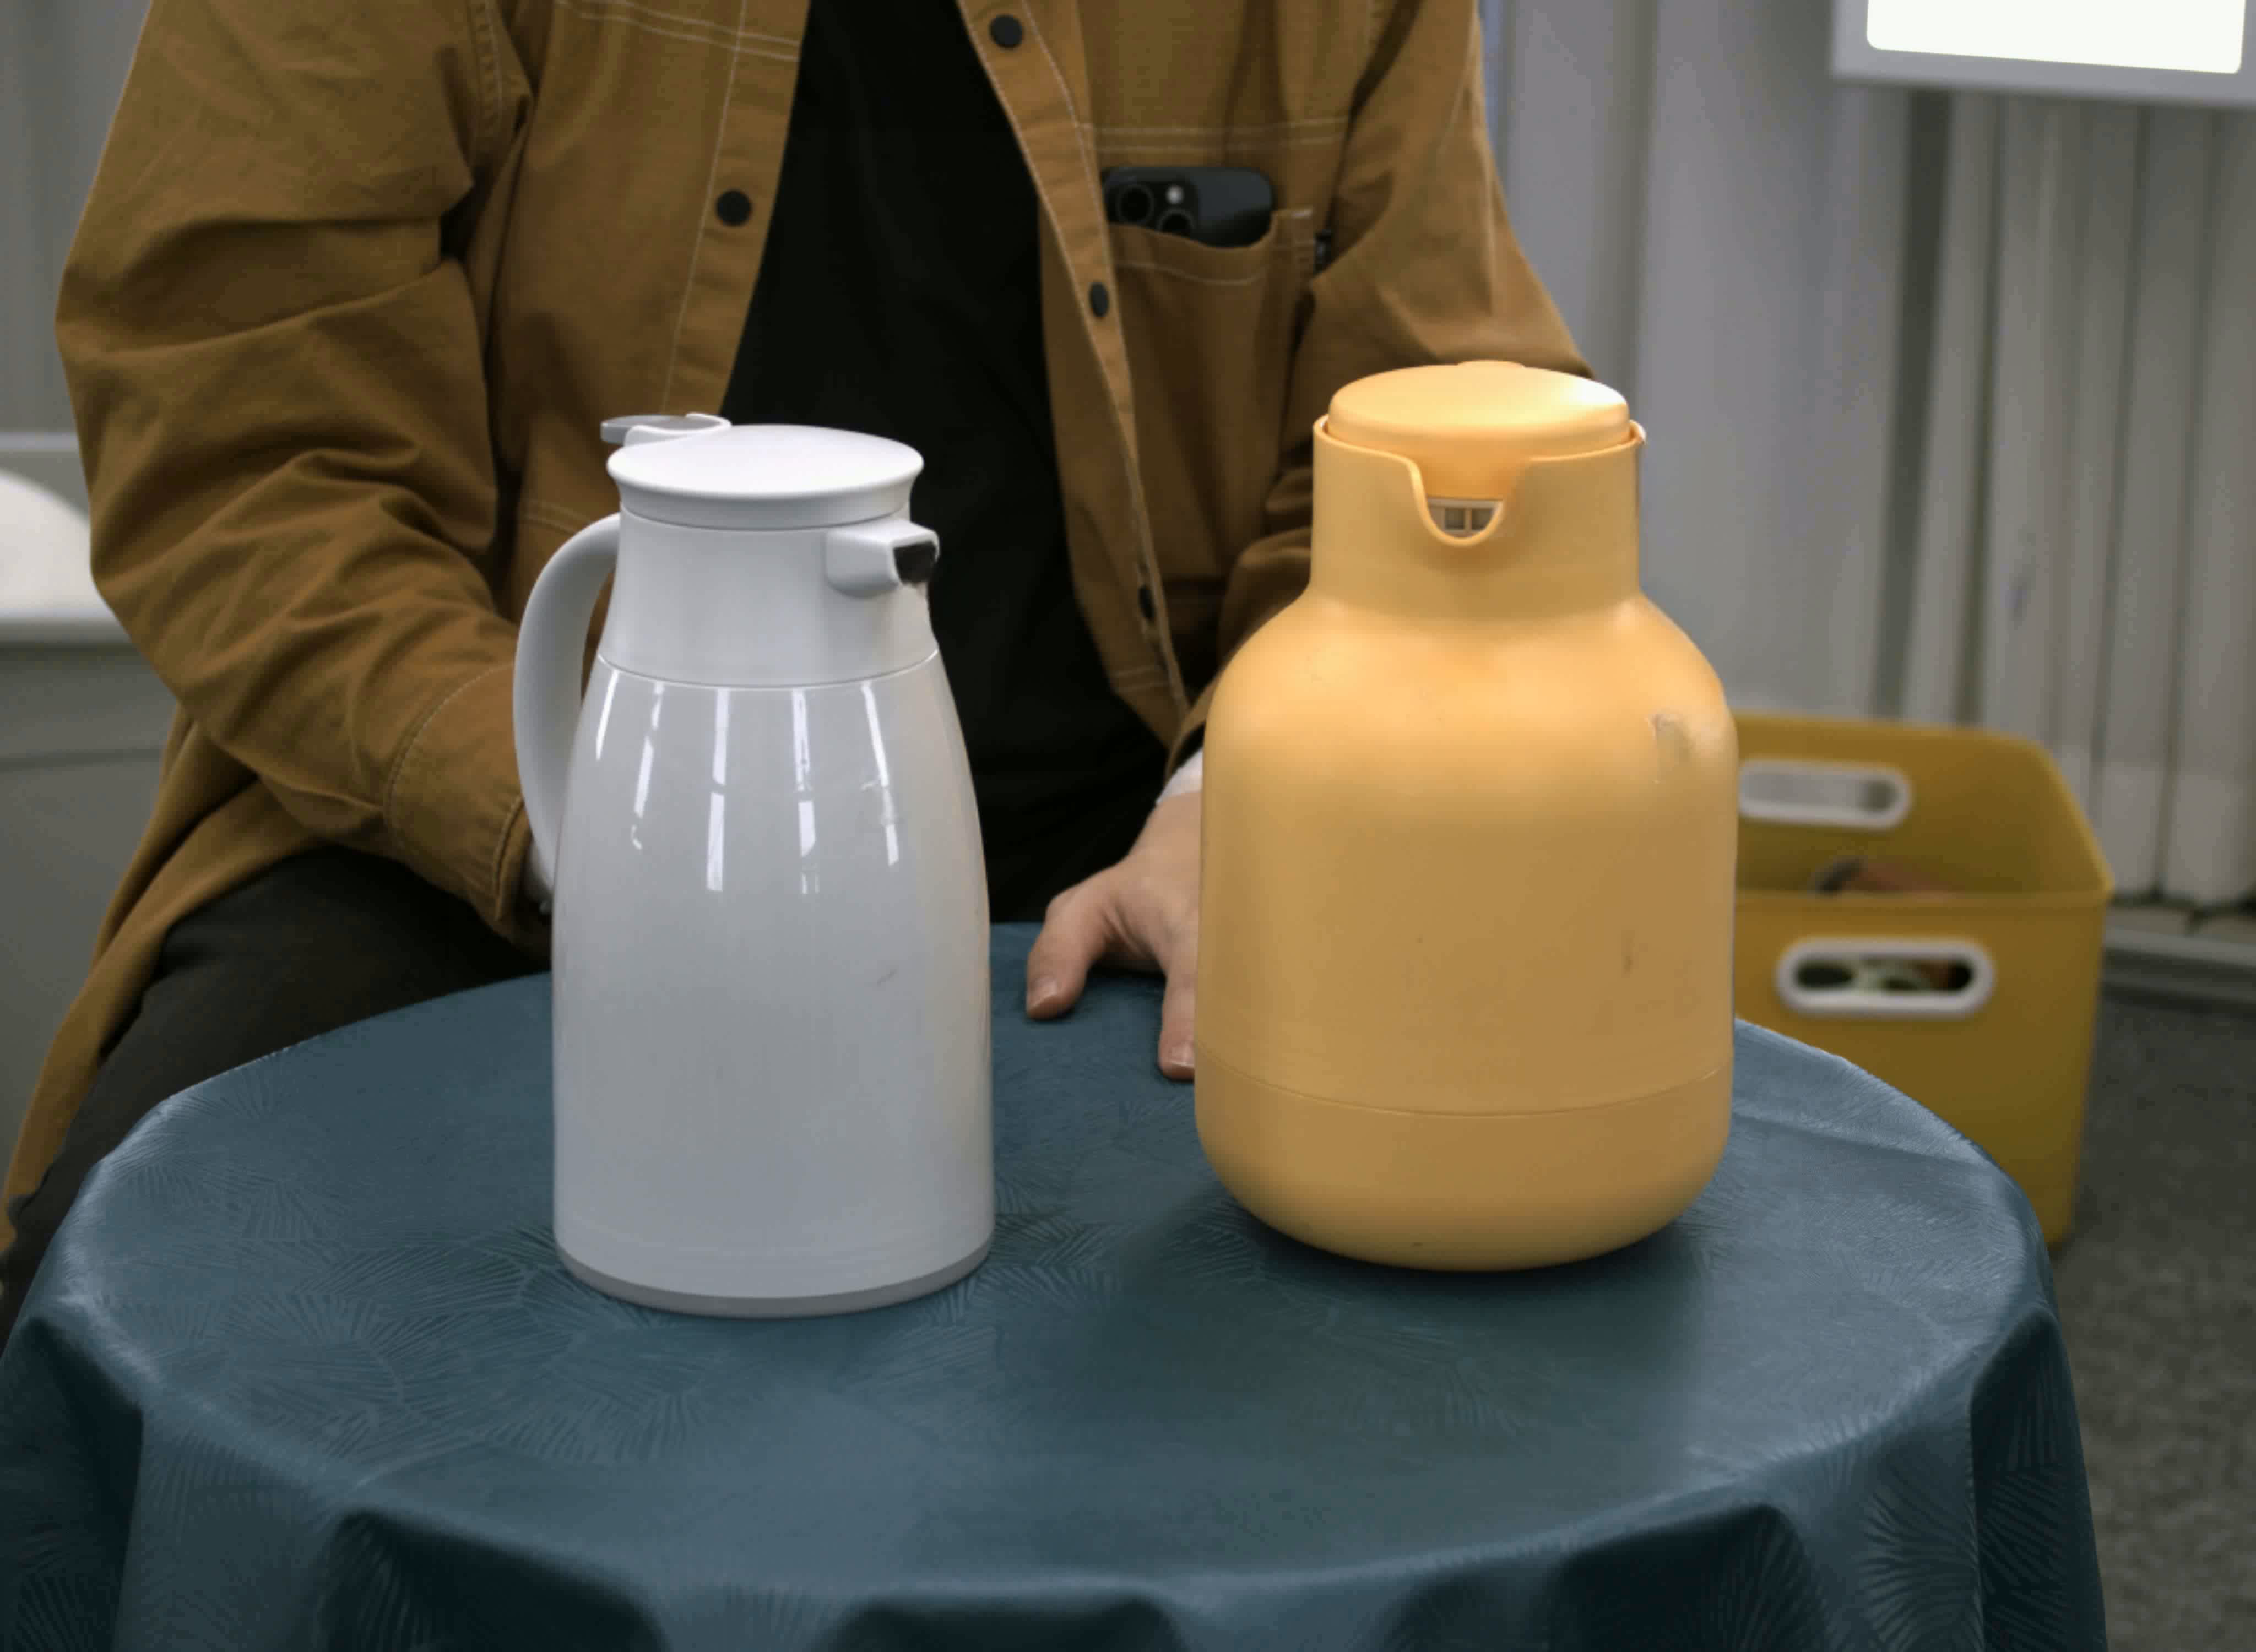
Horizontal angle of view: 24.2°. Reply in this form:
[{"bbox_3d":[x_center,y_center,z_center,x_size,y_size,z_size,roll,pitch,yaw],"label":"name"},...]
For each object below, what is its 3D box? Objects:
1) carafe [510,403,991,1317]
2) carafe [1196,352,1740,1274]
[{"bbox_3d":[-0.120,0.002,1.550,0.165,0.250,0.133,14,21,40],"label":"carafe"},{"bbox_3d":[0.107,-0.012,1.588,0.162,0.262,0.202,4,18,8],"label":"carafe"}]
